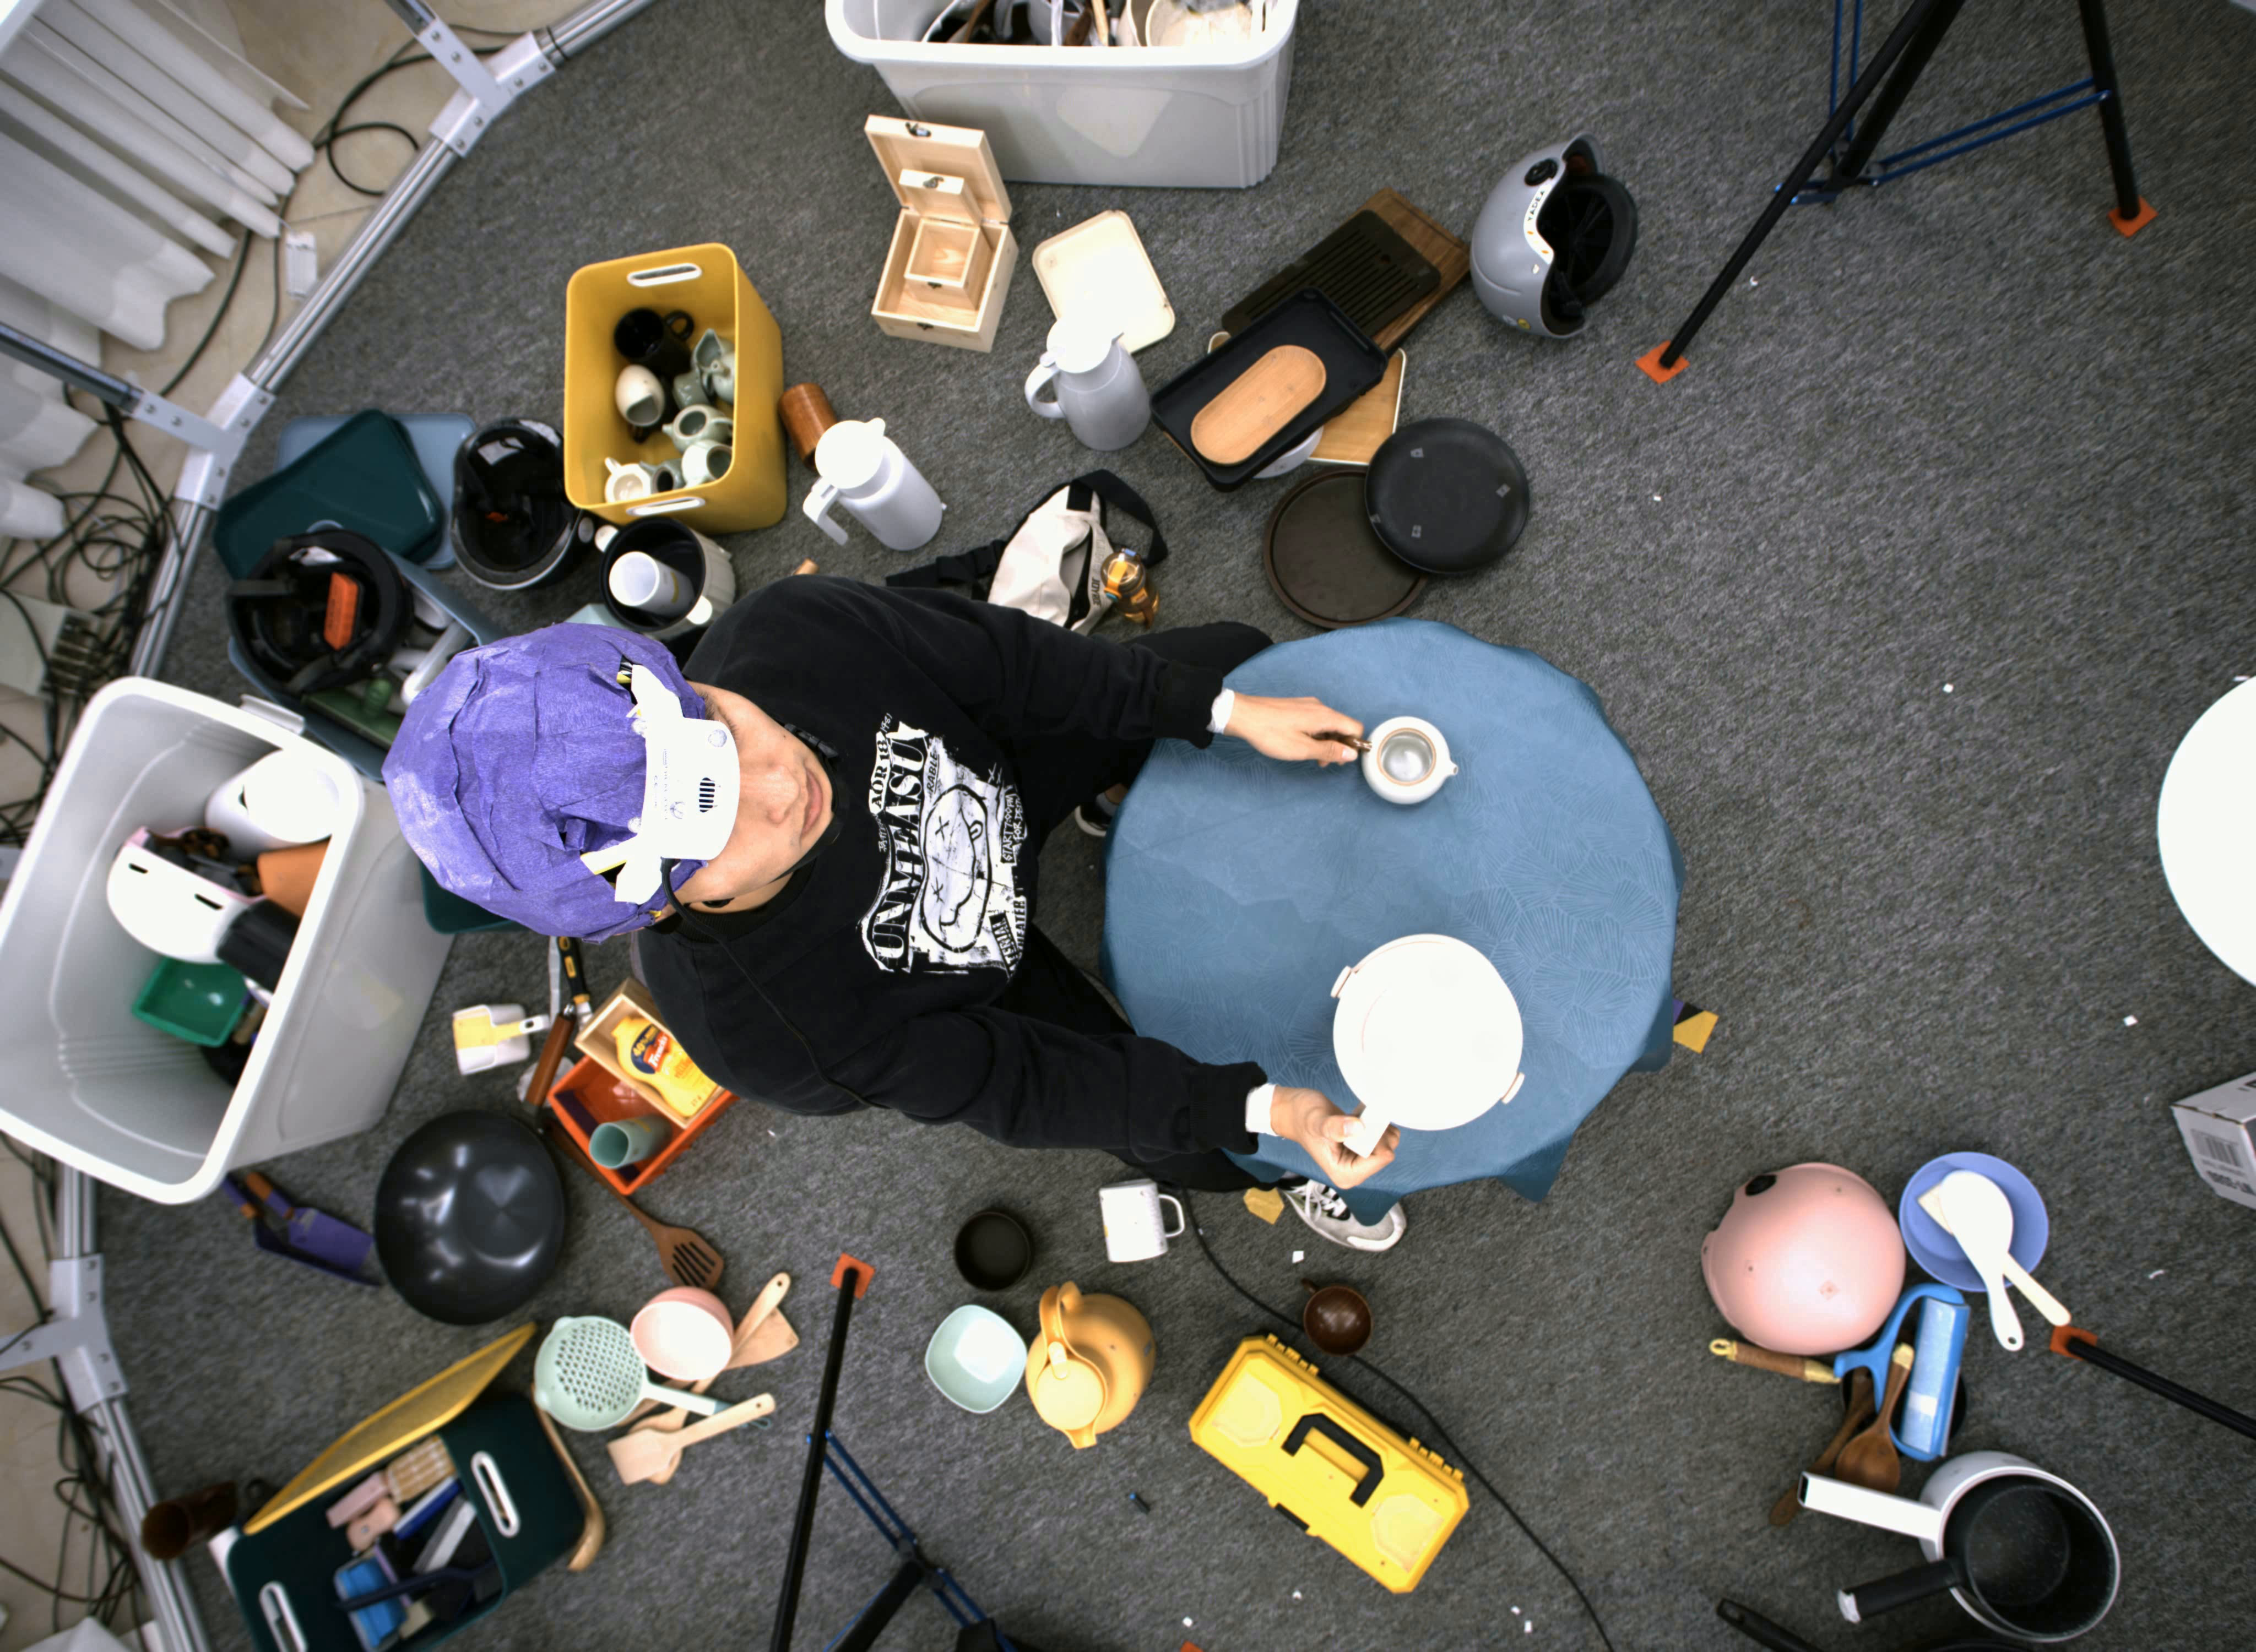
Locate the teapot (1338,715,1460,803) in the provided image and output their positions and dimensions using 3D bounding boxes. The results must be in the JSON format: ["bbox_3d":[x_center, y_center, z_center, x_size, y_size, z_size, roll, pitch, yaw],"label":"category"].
[{"bbox_3d":[0.282,-0.074,1.436,0.128,0.059,0.092,14,93,10],"label":"teapot"}]

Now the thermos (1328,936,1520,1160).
[{"bbox_3d":[0.257,0.197,1.255,0.175,0.406,0.207,31,92,10],"label":"thermos"}]
